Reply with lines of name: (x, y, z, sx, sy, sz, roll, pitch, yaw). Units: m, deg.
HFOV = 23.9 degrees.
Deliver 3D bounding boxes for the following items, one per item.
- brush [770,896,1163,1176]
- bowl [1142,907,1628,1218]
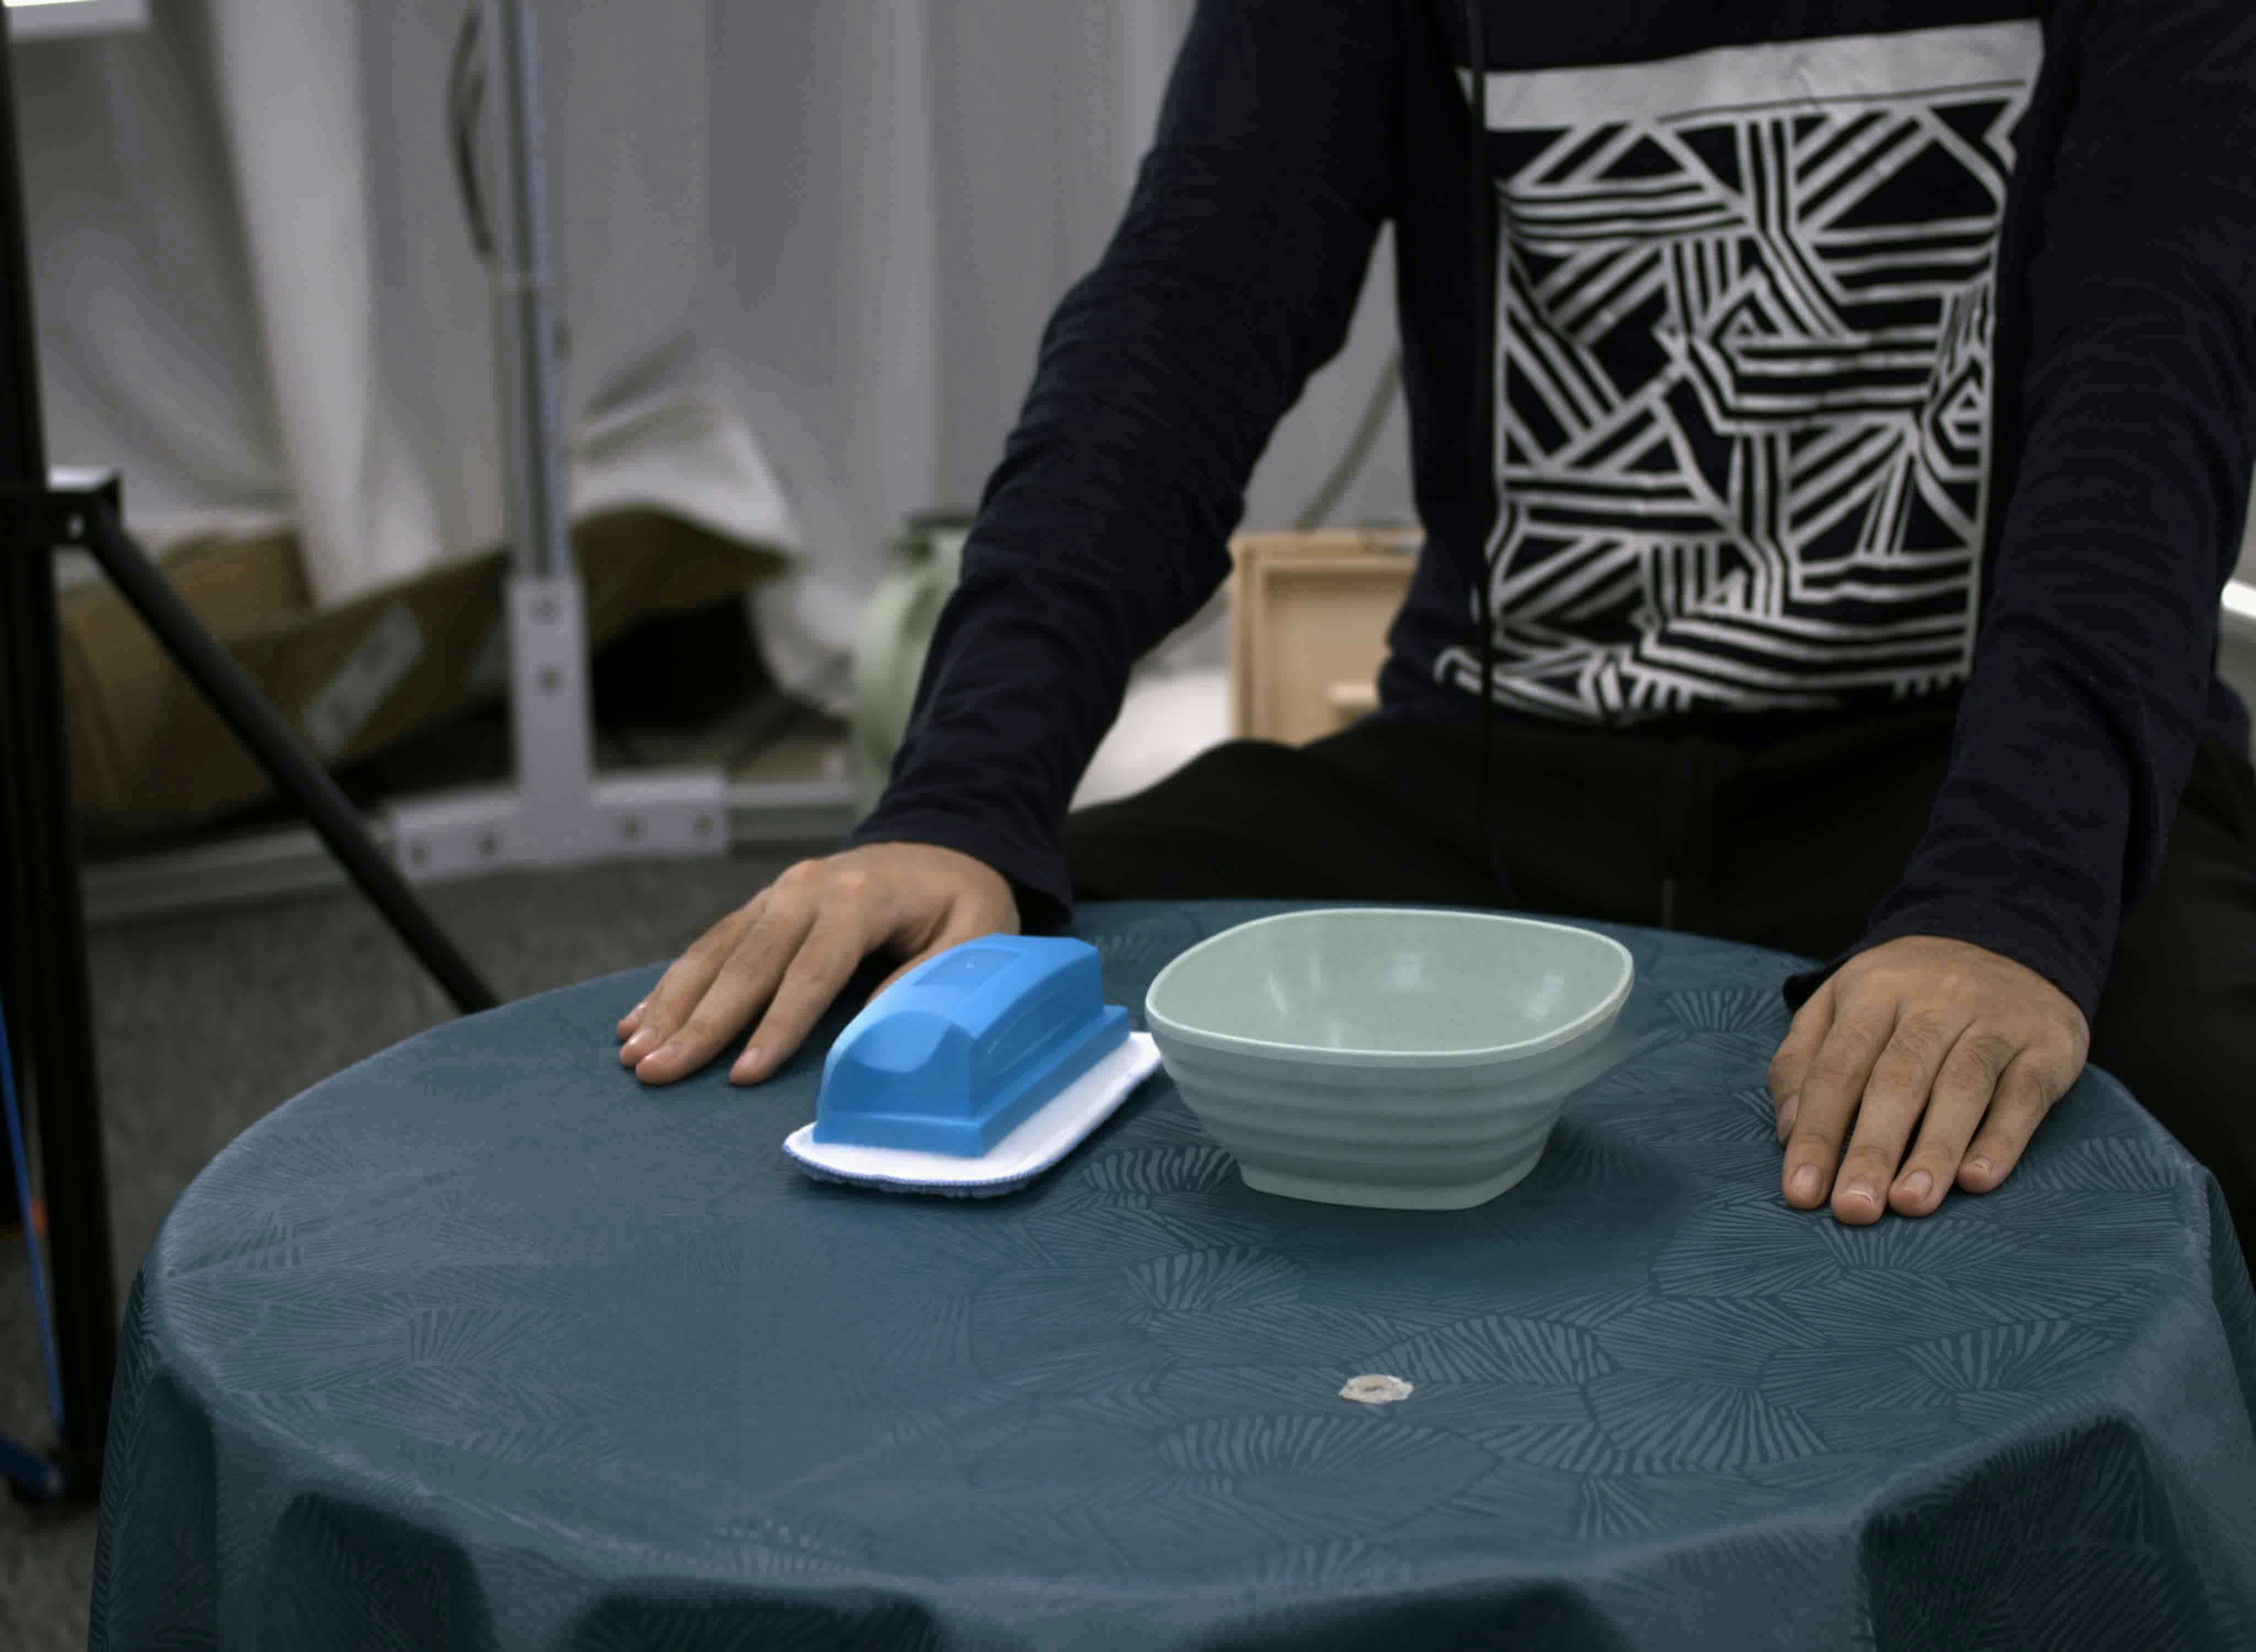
brush: (-0.047, 0.060, 1.625, 0.085, 0.056, 0.142, 9, 20, 22)
bowl: (0.076, 0.073, 1.572, 0.150, 0.058, 0.152, -1, 16, -1)
